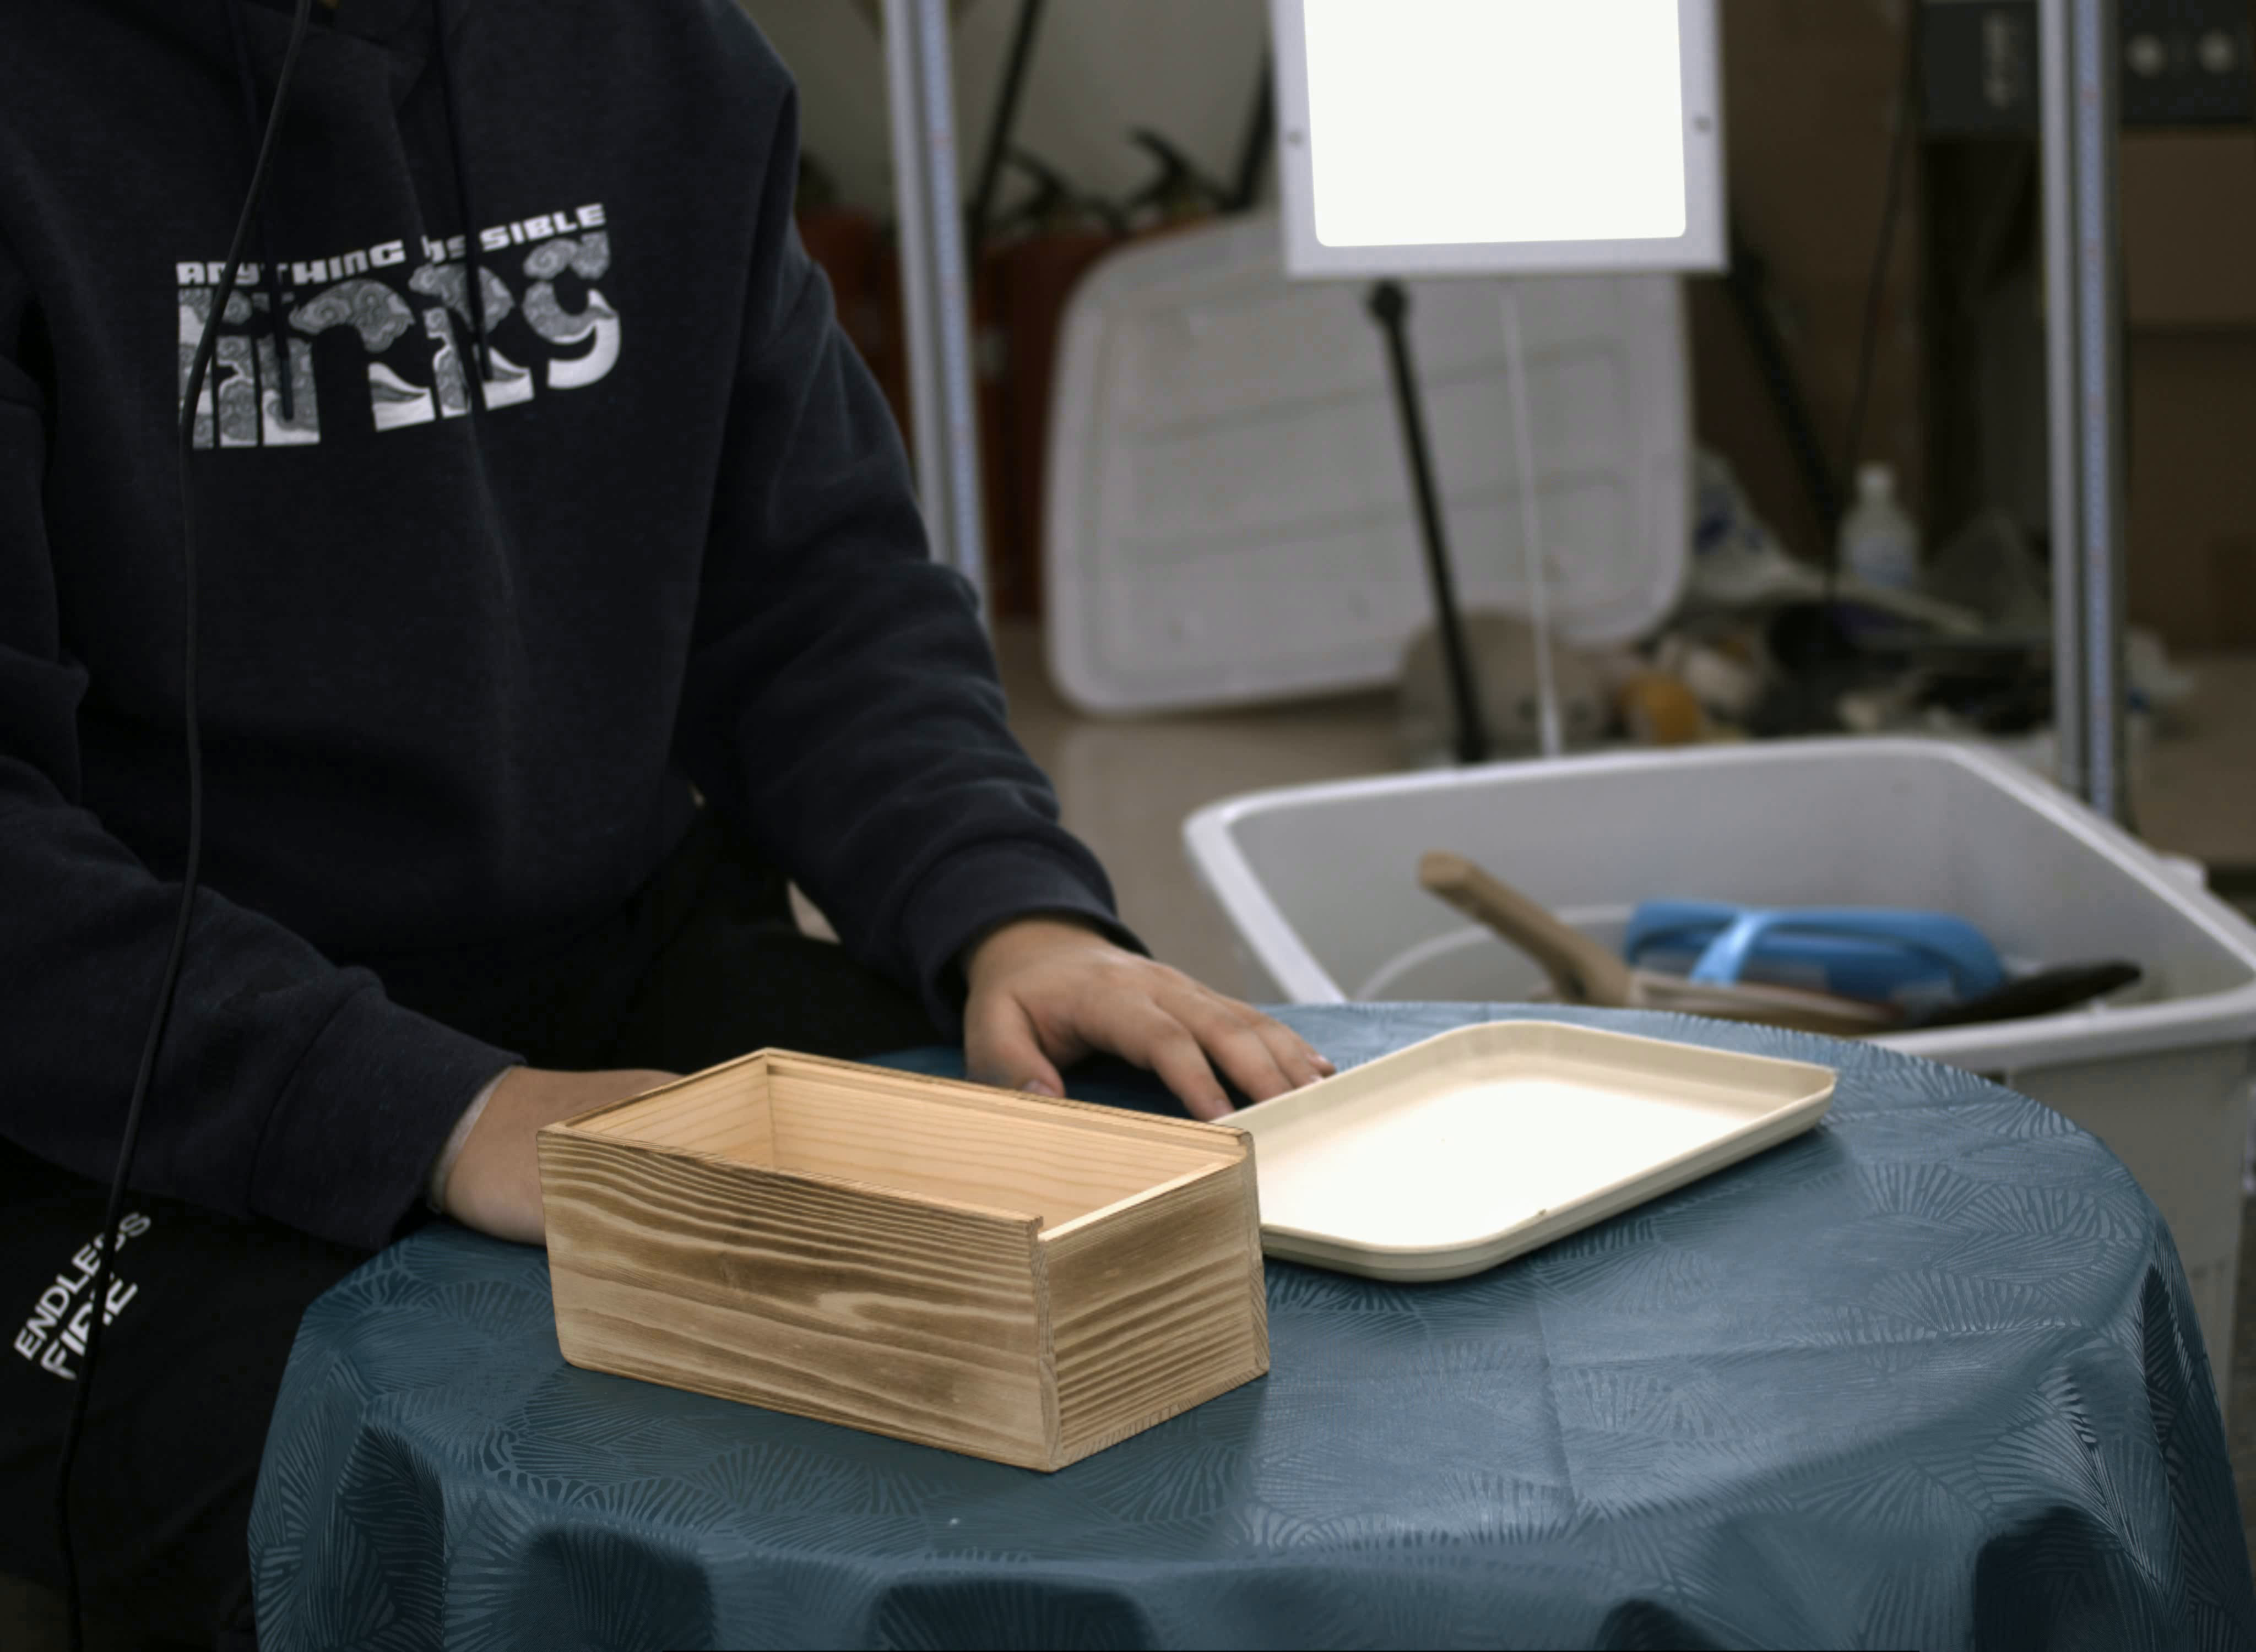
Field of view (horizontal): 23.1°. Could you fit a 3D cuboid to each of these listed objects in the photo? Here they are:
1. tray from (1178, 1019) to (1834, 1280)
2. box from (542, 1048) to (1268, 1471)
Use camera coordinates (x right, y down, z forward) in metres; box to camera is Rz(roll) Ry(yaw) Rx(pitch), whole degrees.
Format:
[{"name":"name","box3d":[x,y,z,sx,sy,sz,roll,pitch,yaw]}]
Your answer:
[{"name":"tray","box3d":[0.118,0.110,1.888,0.175,0.017,0.233,7,18,44]},{"name":"box","box3d":[-0.072,0.132,1.730,0.216,0.080,0.105,7,17,41]}]
